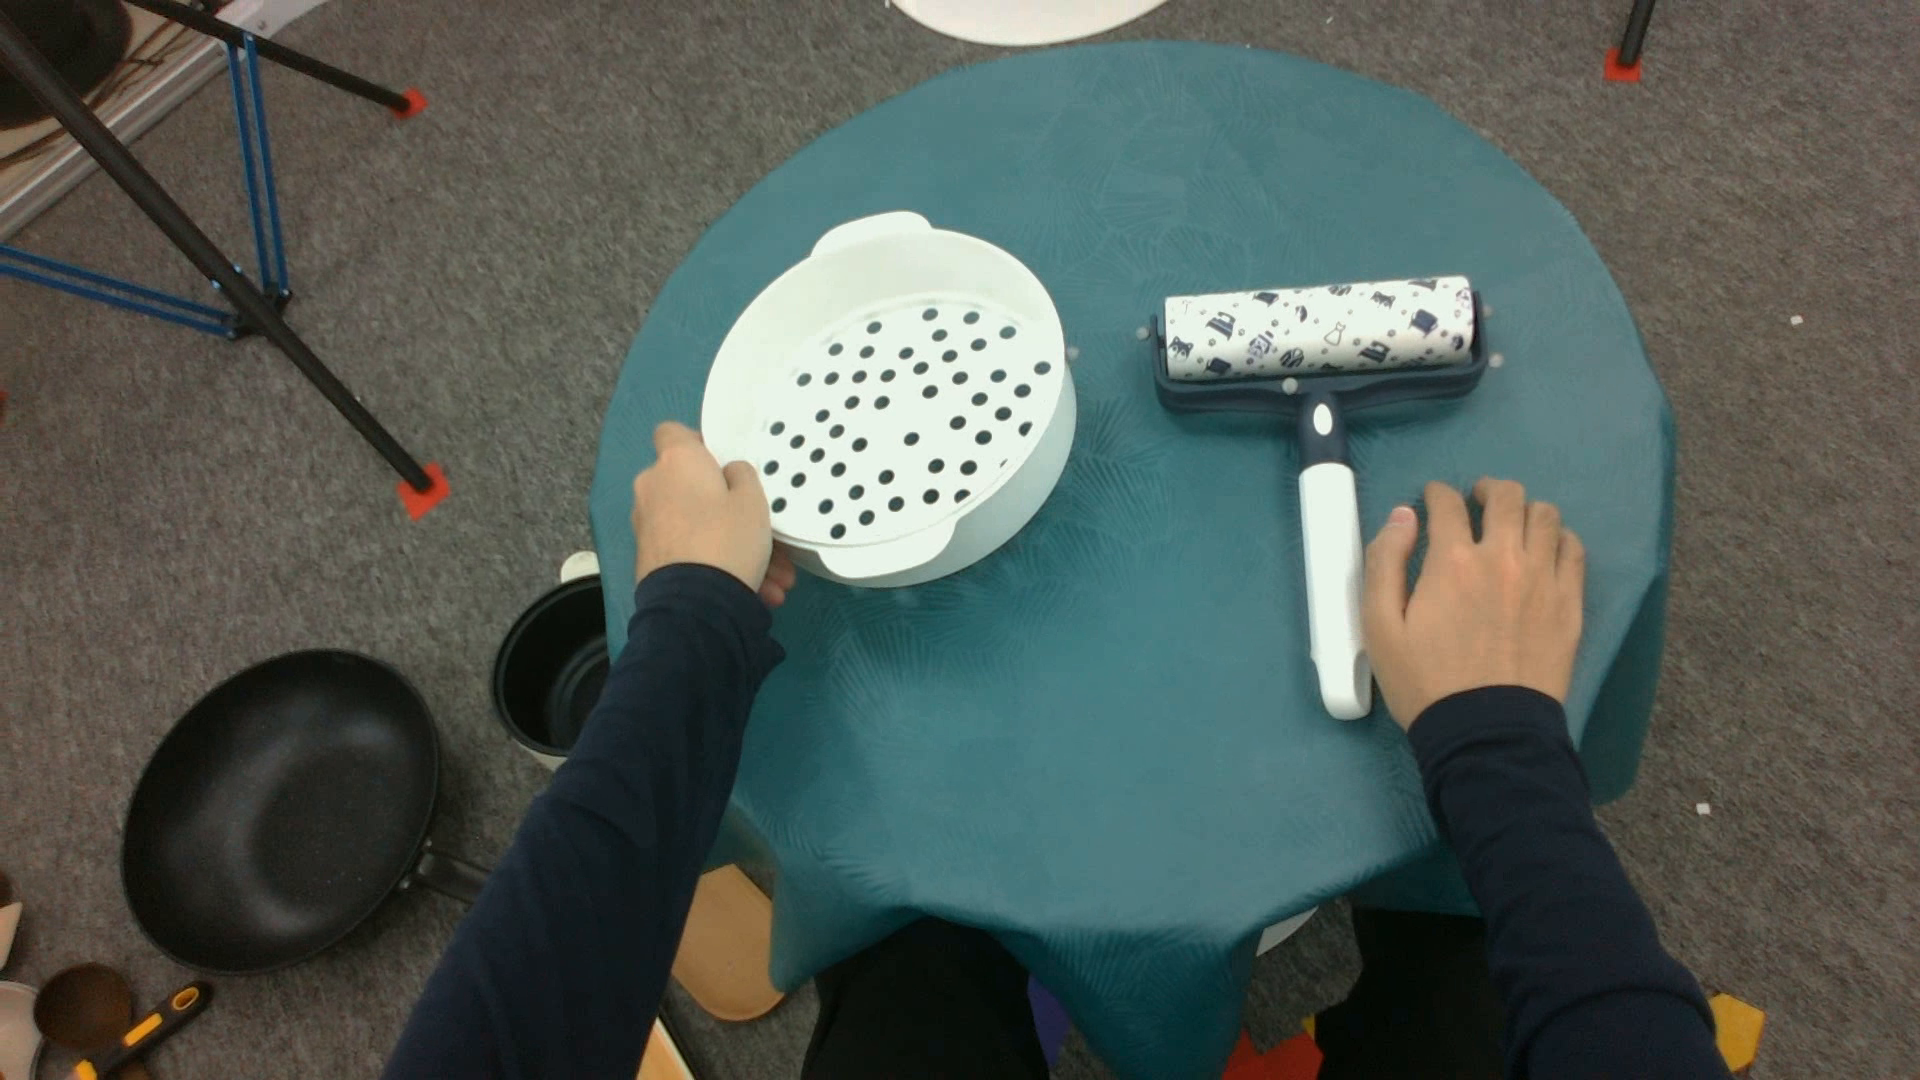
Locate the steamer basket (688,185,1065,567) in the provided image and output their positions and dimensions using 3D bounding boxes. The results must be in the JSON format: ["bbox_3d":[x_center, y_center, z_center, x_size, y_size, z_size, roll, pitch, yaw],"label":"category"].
[{"bbox_3d":[-0.044,-0.083,0.747,0.201,0.069,0.231,-14,62,13],"label":"steamer basket"}]

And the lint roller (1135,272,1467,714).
[{"bbox_3d":[0.186,-0.032,0.719,0.176,0.050,0.248,-3,62,7],"label":"lint roller"}]
